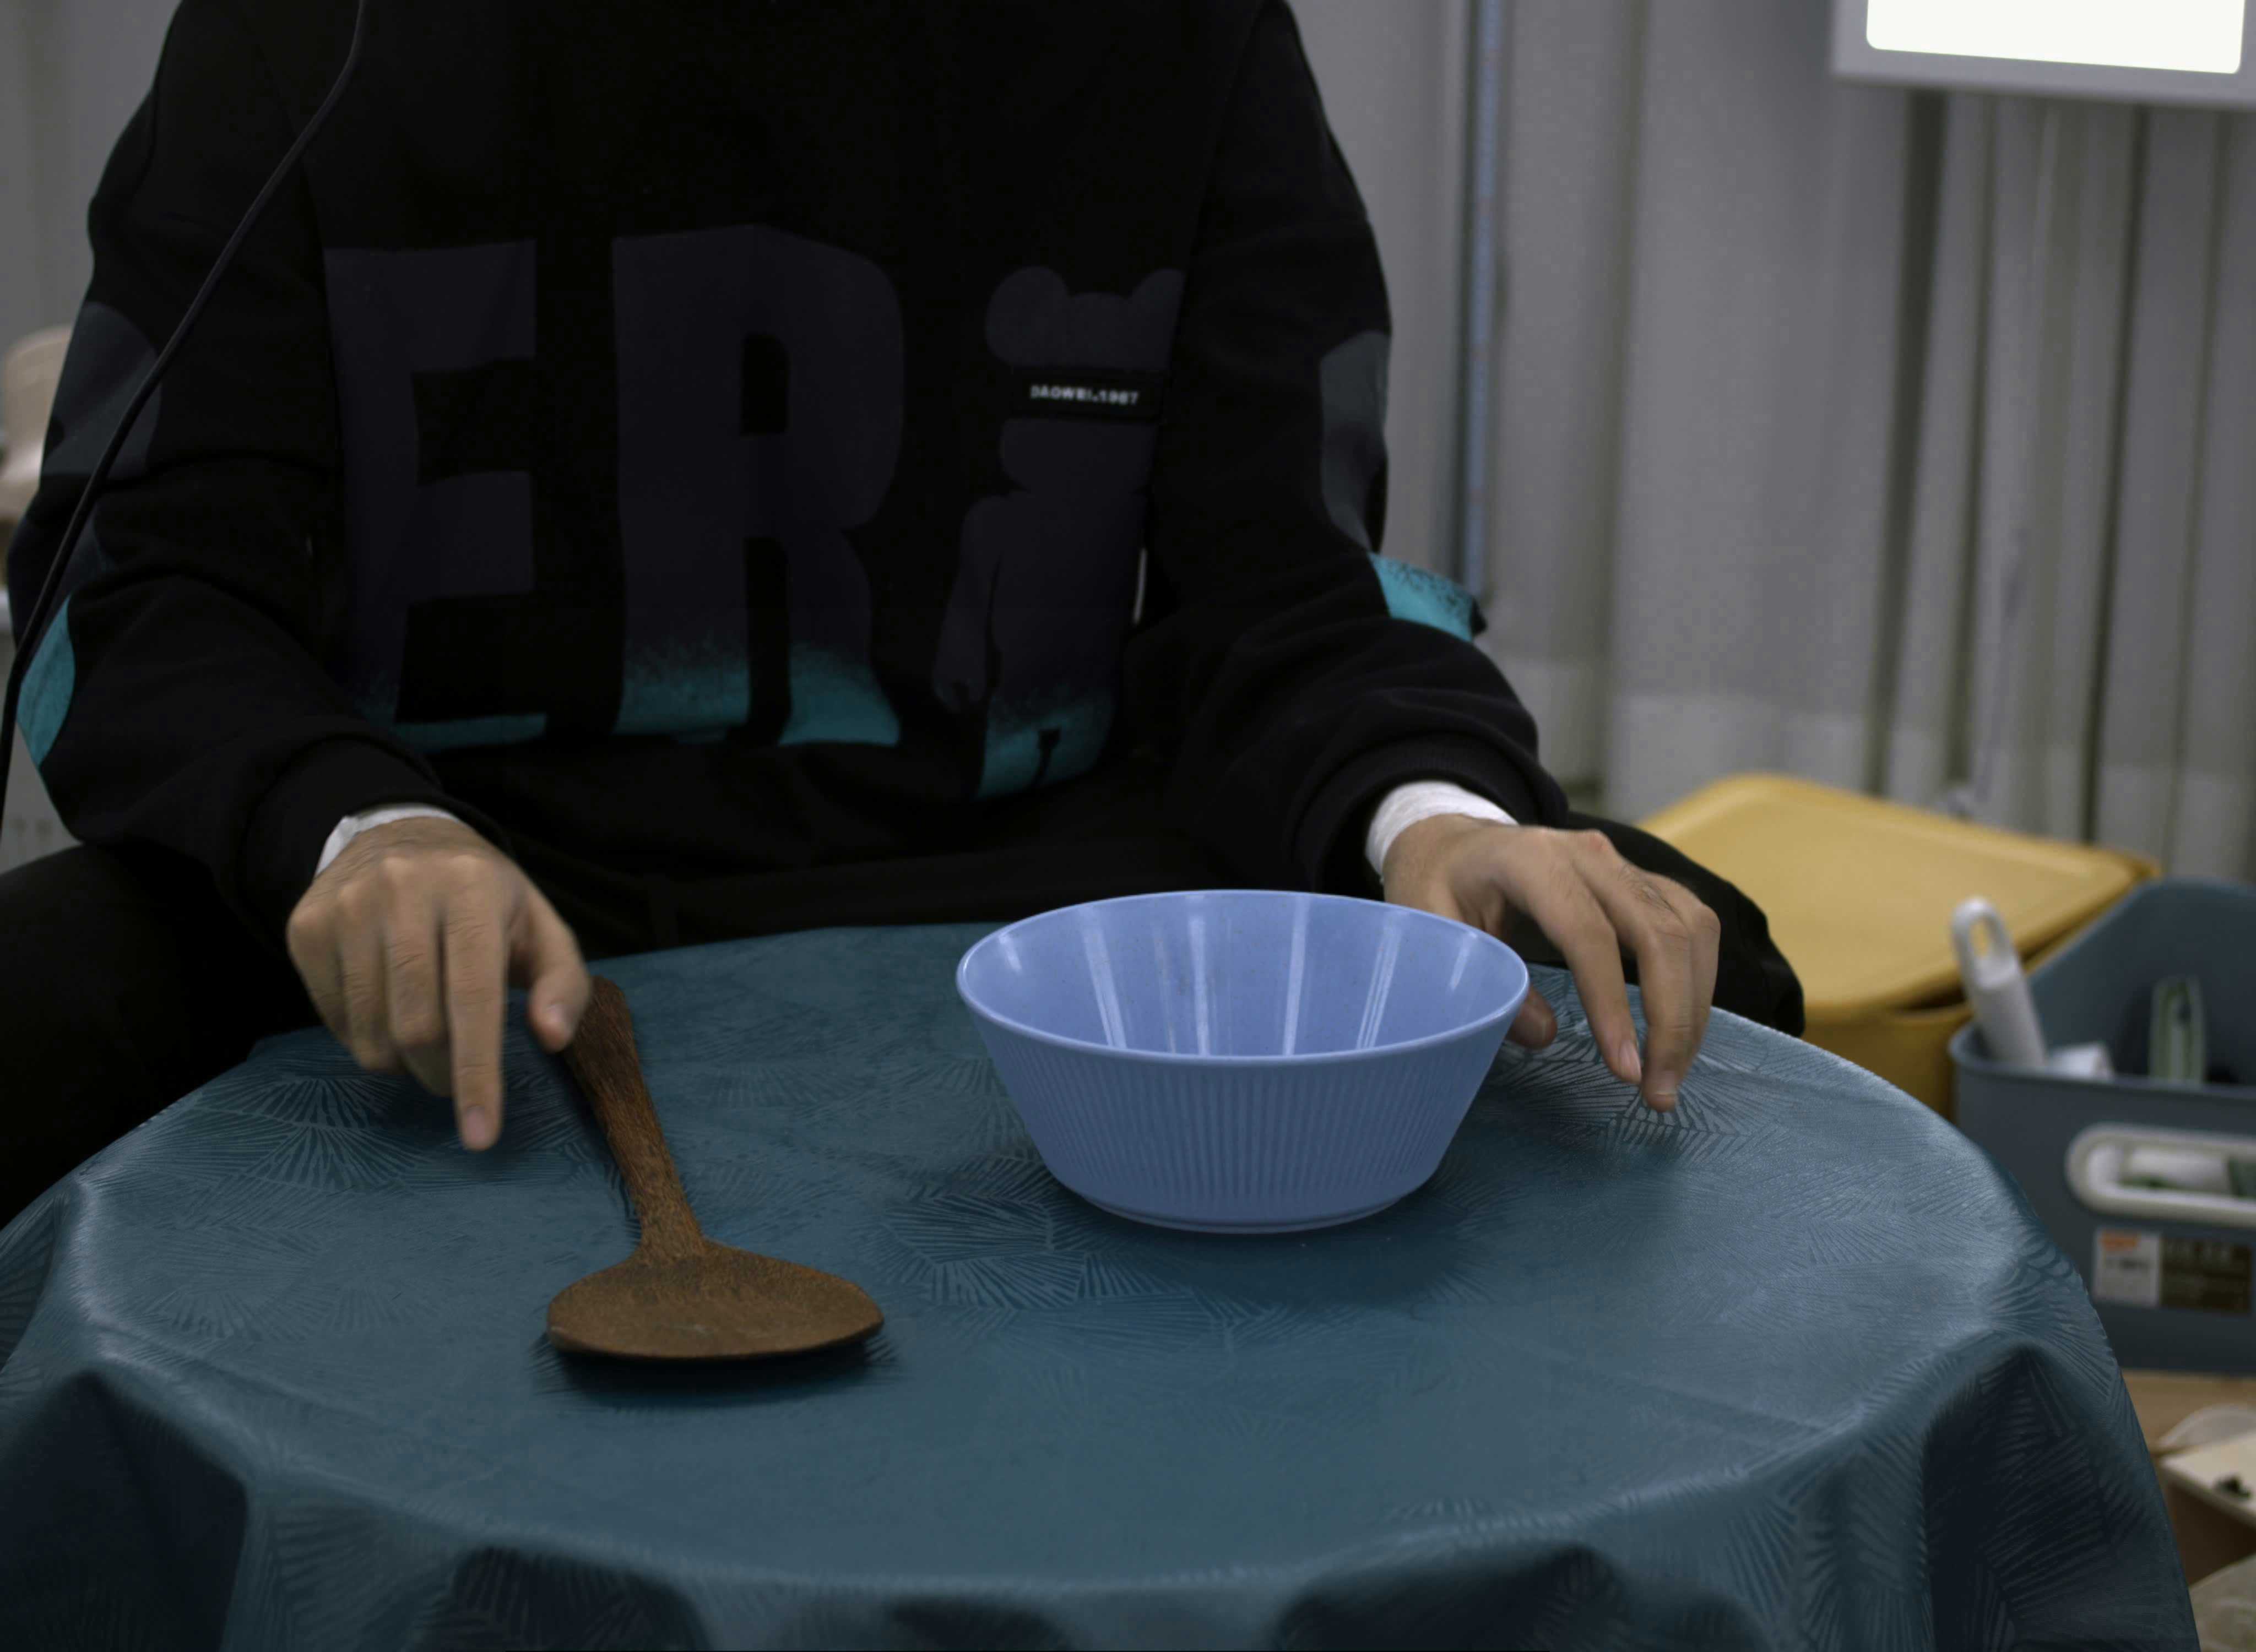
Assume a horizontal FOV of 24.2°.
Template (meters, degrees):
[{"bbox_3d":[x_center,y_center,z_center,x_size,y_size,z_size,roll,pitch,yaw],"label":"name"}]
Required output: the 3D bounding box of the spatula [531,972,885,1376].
[{"bbox_3d":[-0.151,0.101,1.635,0.096,0.016,0.382,-2,16,-12],"label":"spatula"}]

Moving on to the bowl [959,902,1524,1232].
[{"bbox_3d":[0.035,0.076,1.629,0.175,0.071,0.175,1,15,0],"label":"bowl"}]
